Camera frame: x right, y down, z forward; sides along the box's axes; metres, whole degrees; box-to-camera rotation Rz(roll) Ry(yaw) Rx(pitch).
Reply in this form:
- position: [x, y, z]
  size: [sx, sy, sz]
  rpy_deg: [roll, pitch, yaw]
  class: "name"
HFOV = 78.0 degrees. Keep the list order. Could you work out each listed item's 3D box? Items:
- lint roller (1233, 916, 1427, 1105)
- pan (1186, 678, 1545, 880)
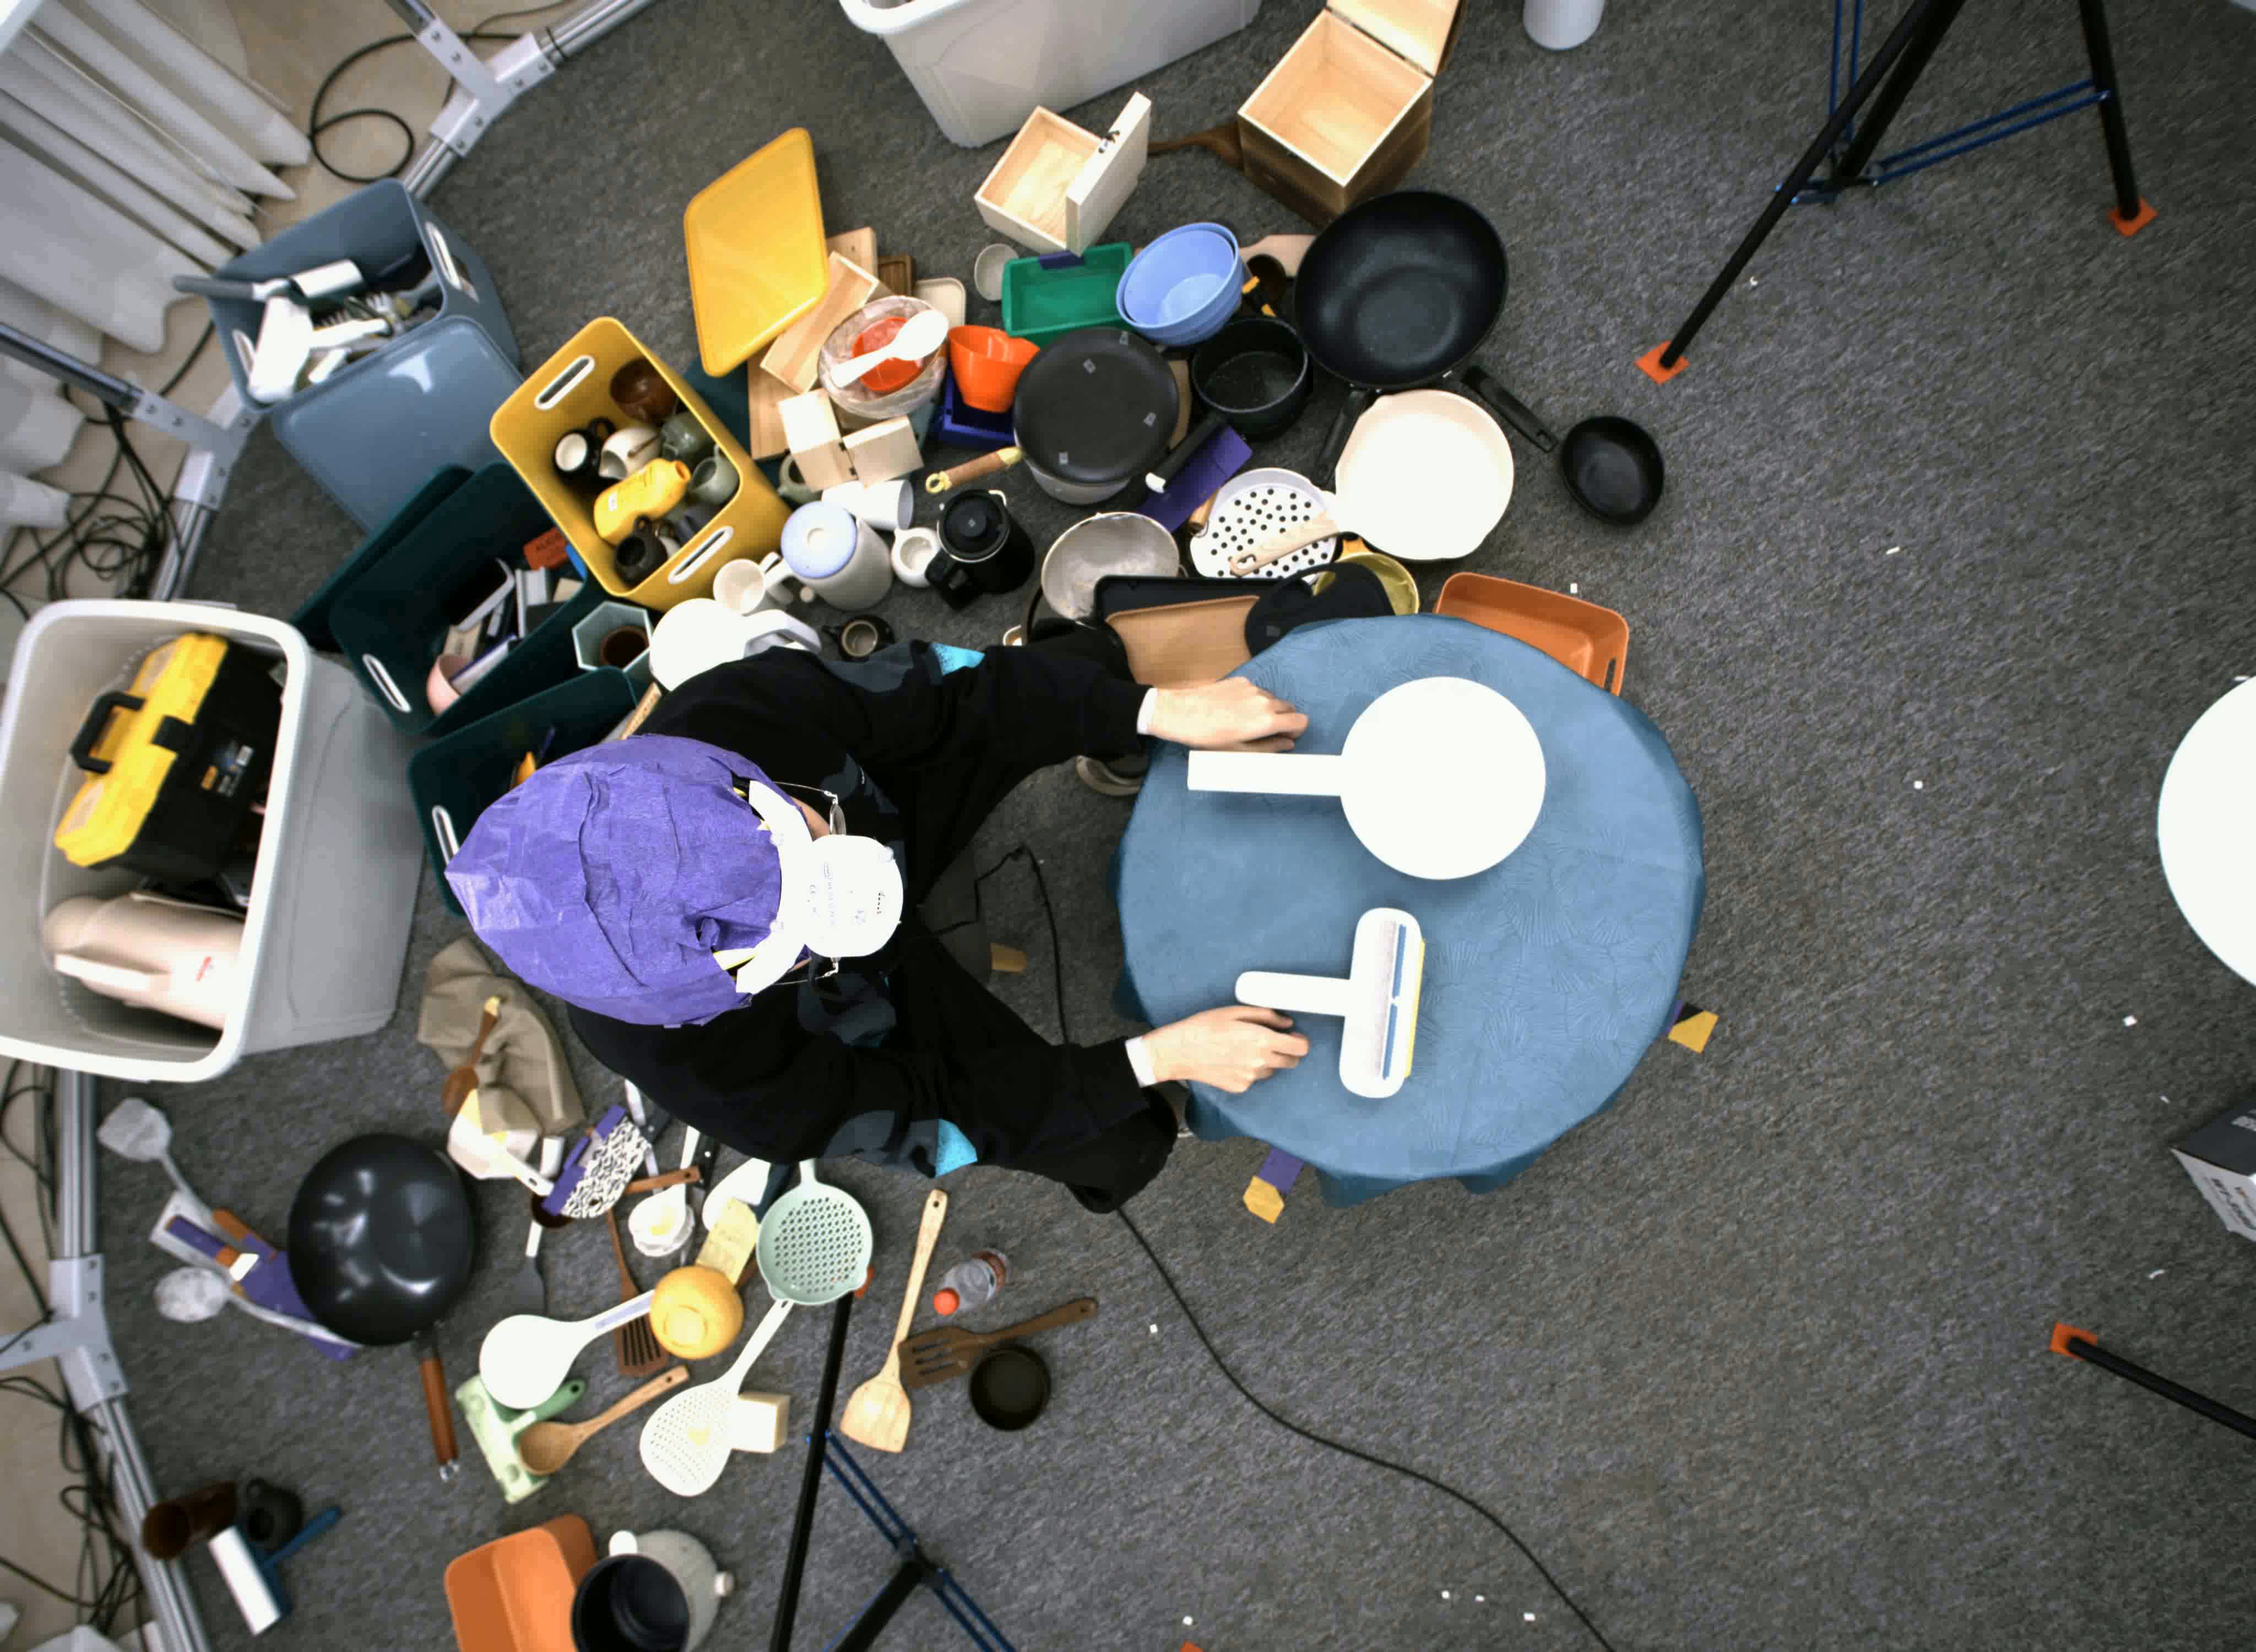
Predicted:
- position: [0.201, 0.177, 1.428]
  size: [0.193, 0.074, 0.191]
  rpy_deg: [10, 83, 12]
  class: "lint roller"
- position: [0.241, -0.048, 1.415]
  size: [0.356, 0.102, 0.200]
  rpy_deg: [2, 87, 11]
  class: "pan"
